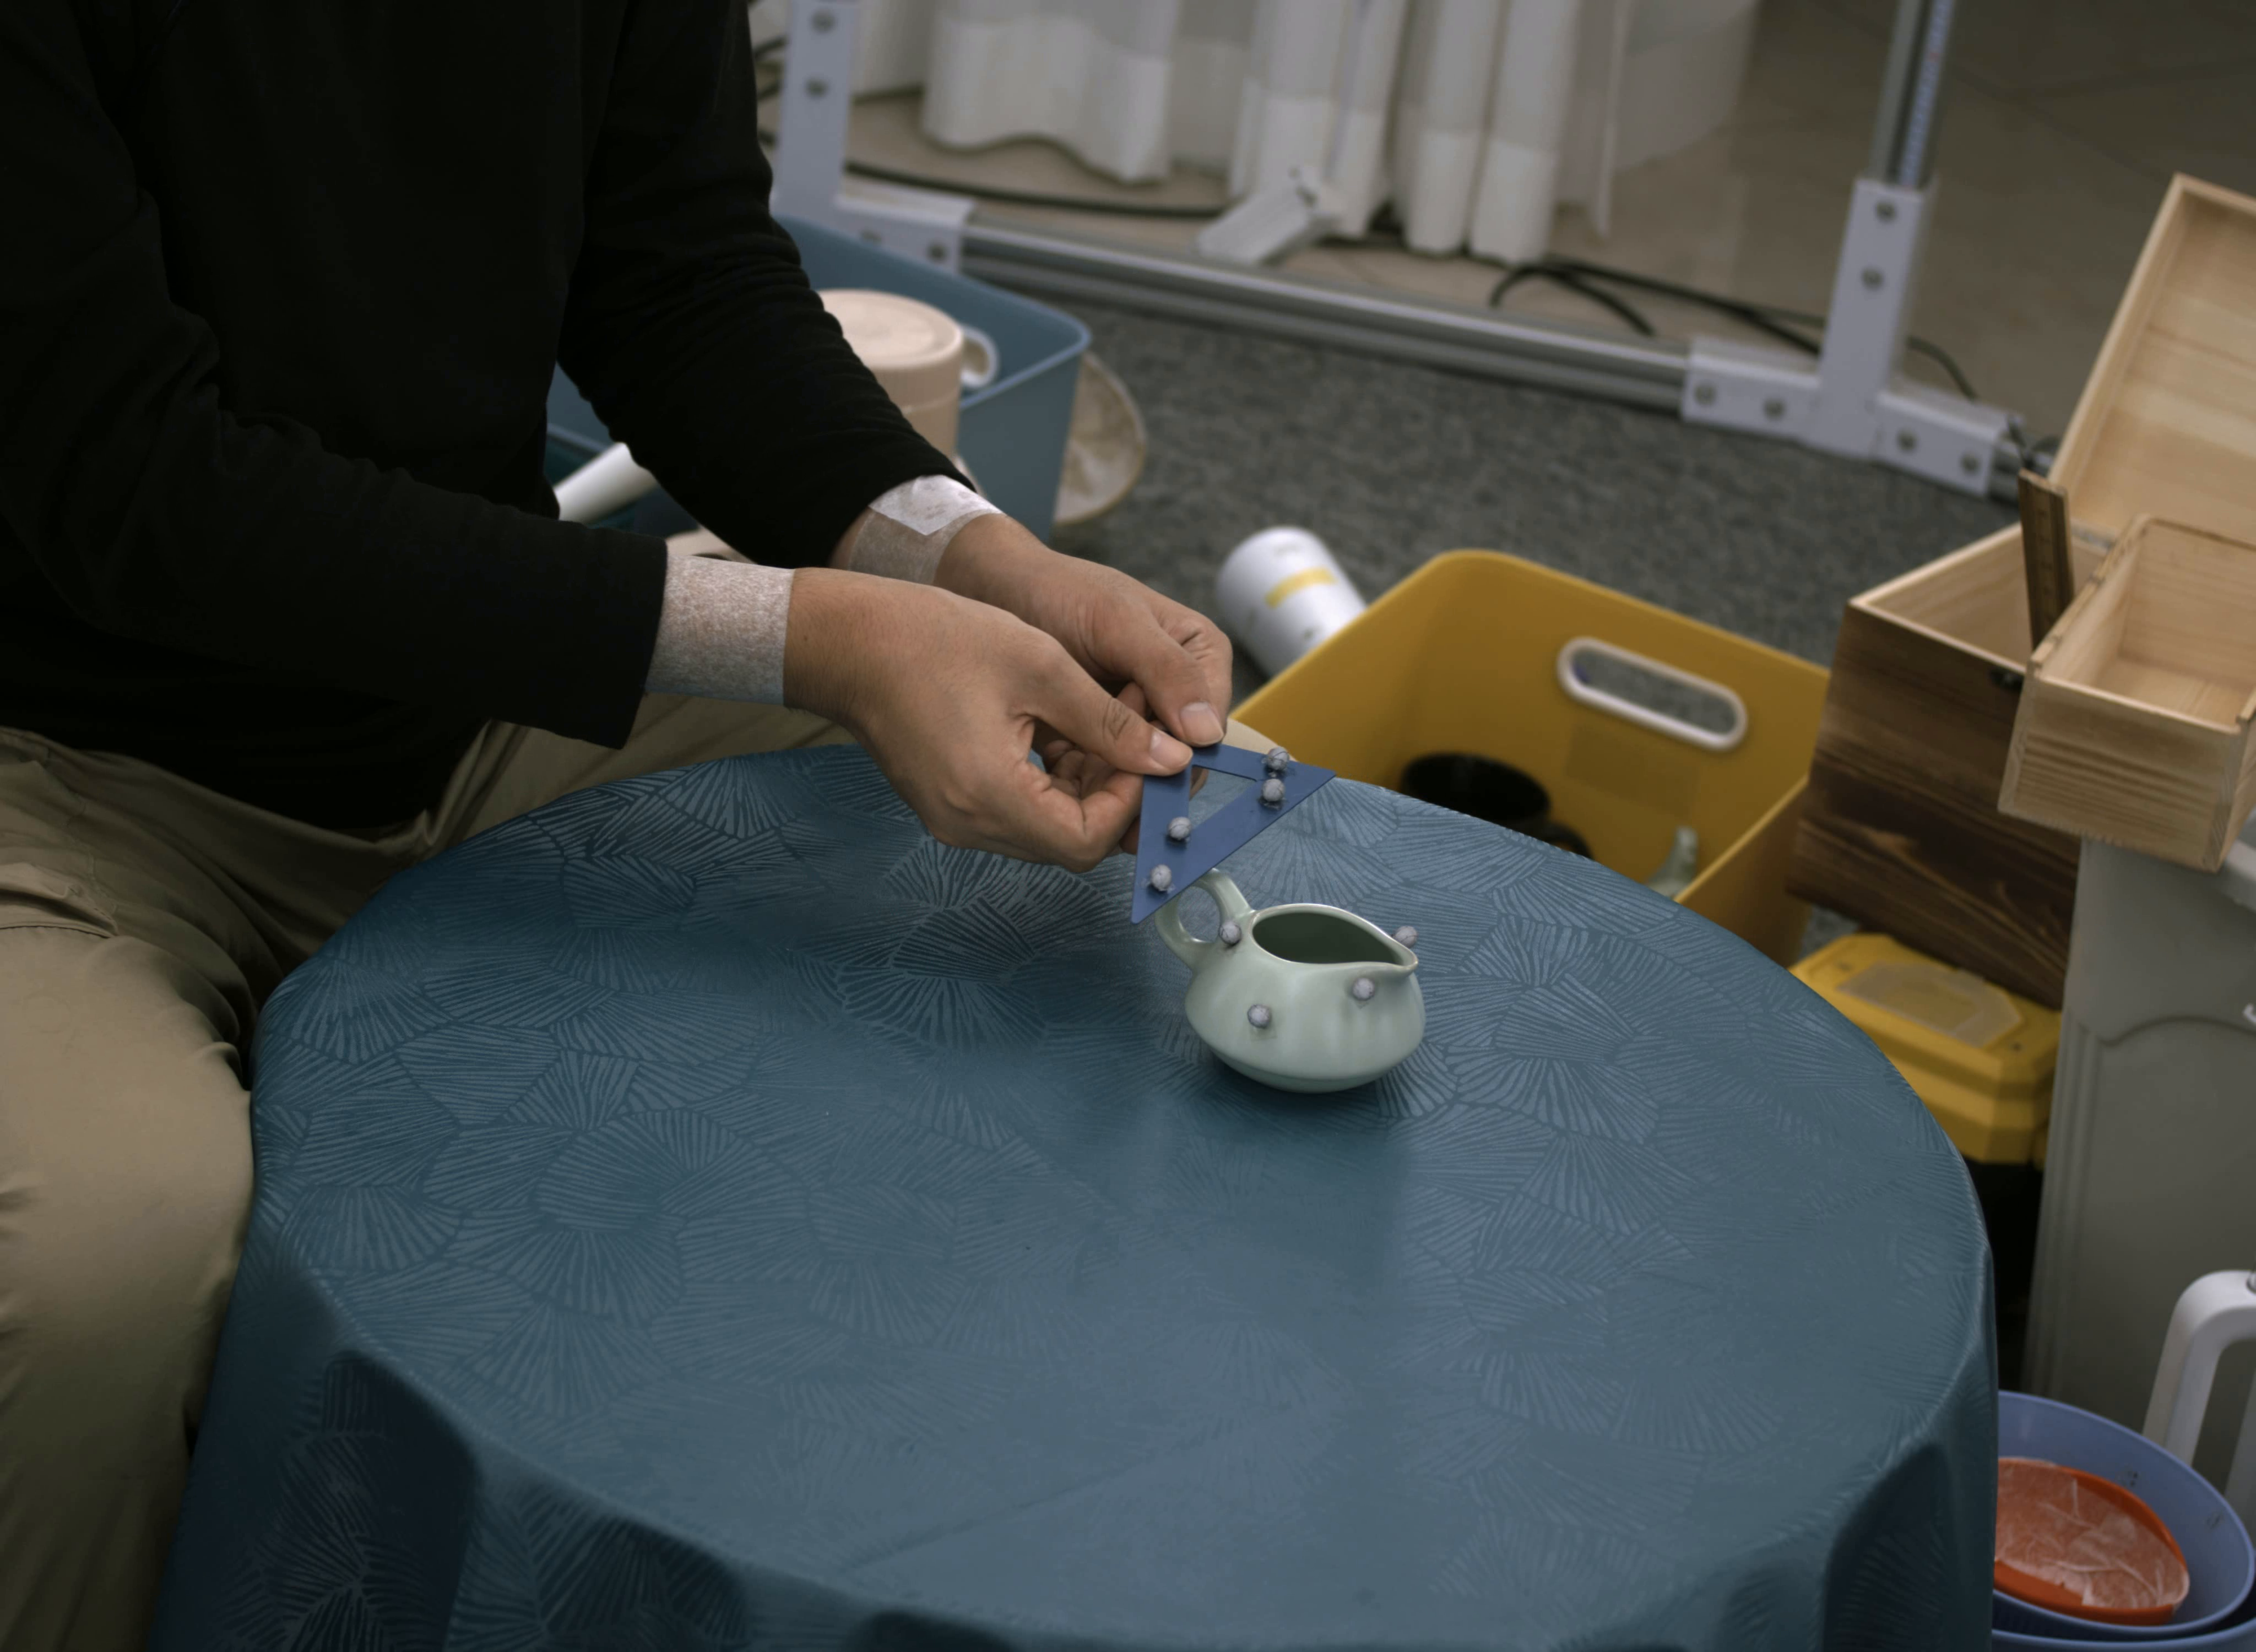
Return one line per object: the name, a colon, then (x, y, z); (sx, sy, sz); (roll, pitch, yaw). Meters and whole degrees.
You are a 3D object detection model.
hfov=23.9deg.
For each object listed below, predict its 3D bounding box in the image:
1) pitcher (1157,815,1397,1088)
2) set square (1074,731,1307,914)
pitcher: (0.048, 0.045, 1.892); (0.085, 0.060, 0.109); (-24, 56, -30)
set square: (0.006, -0.007, 1.892); (0.061, 0.006, 0.131); (33, 38, 22)
